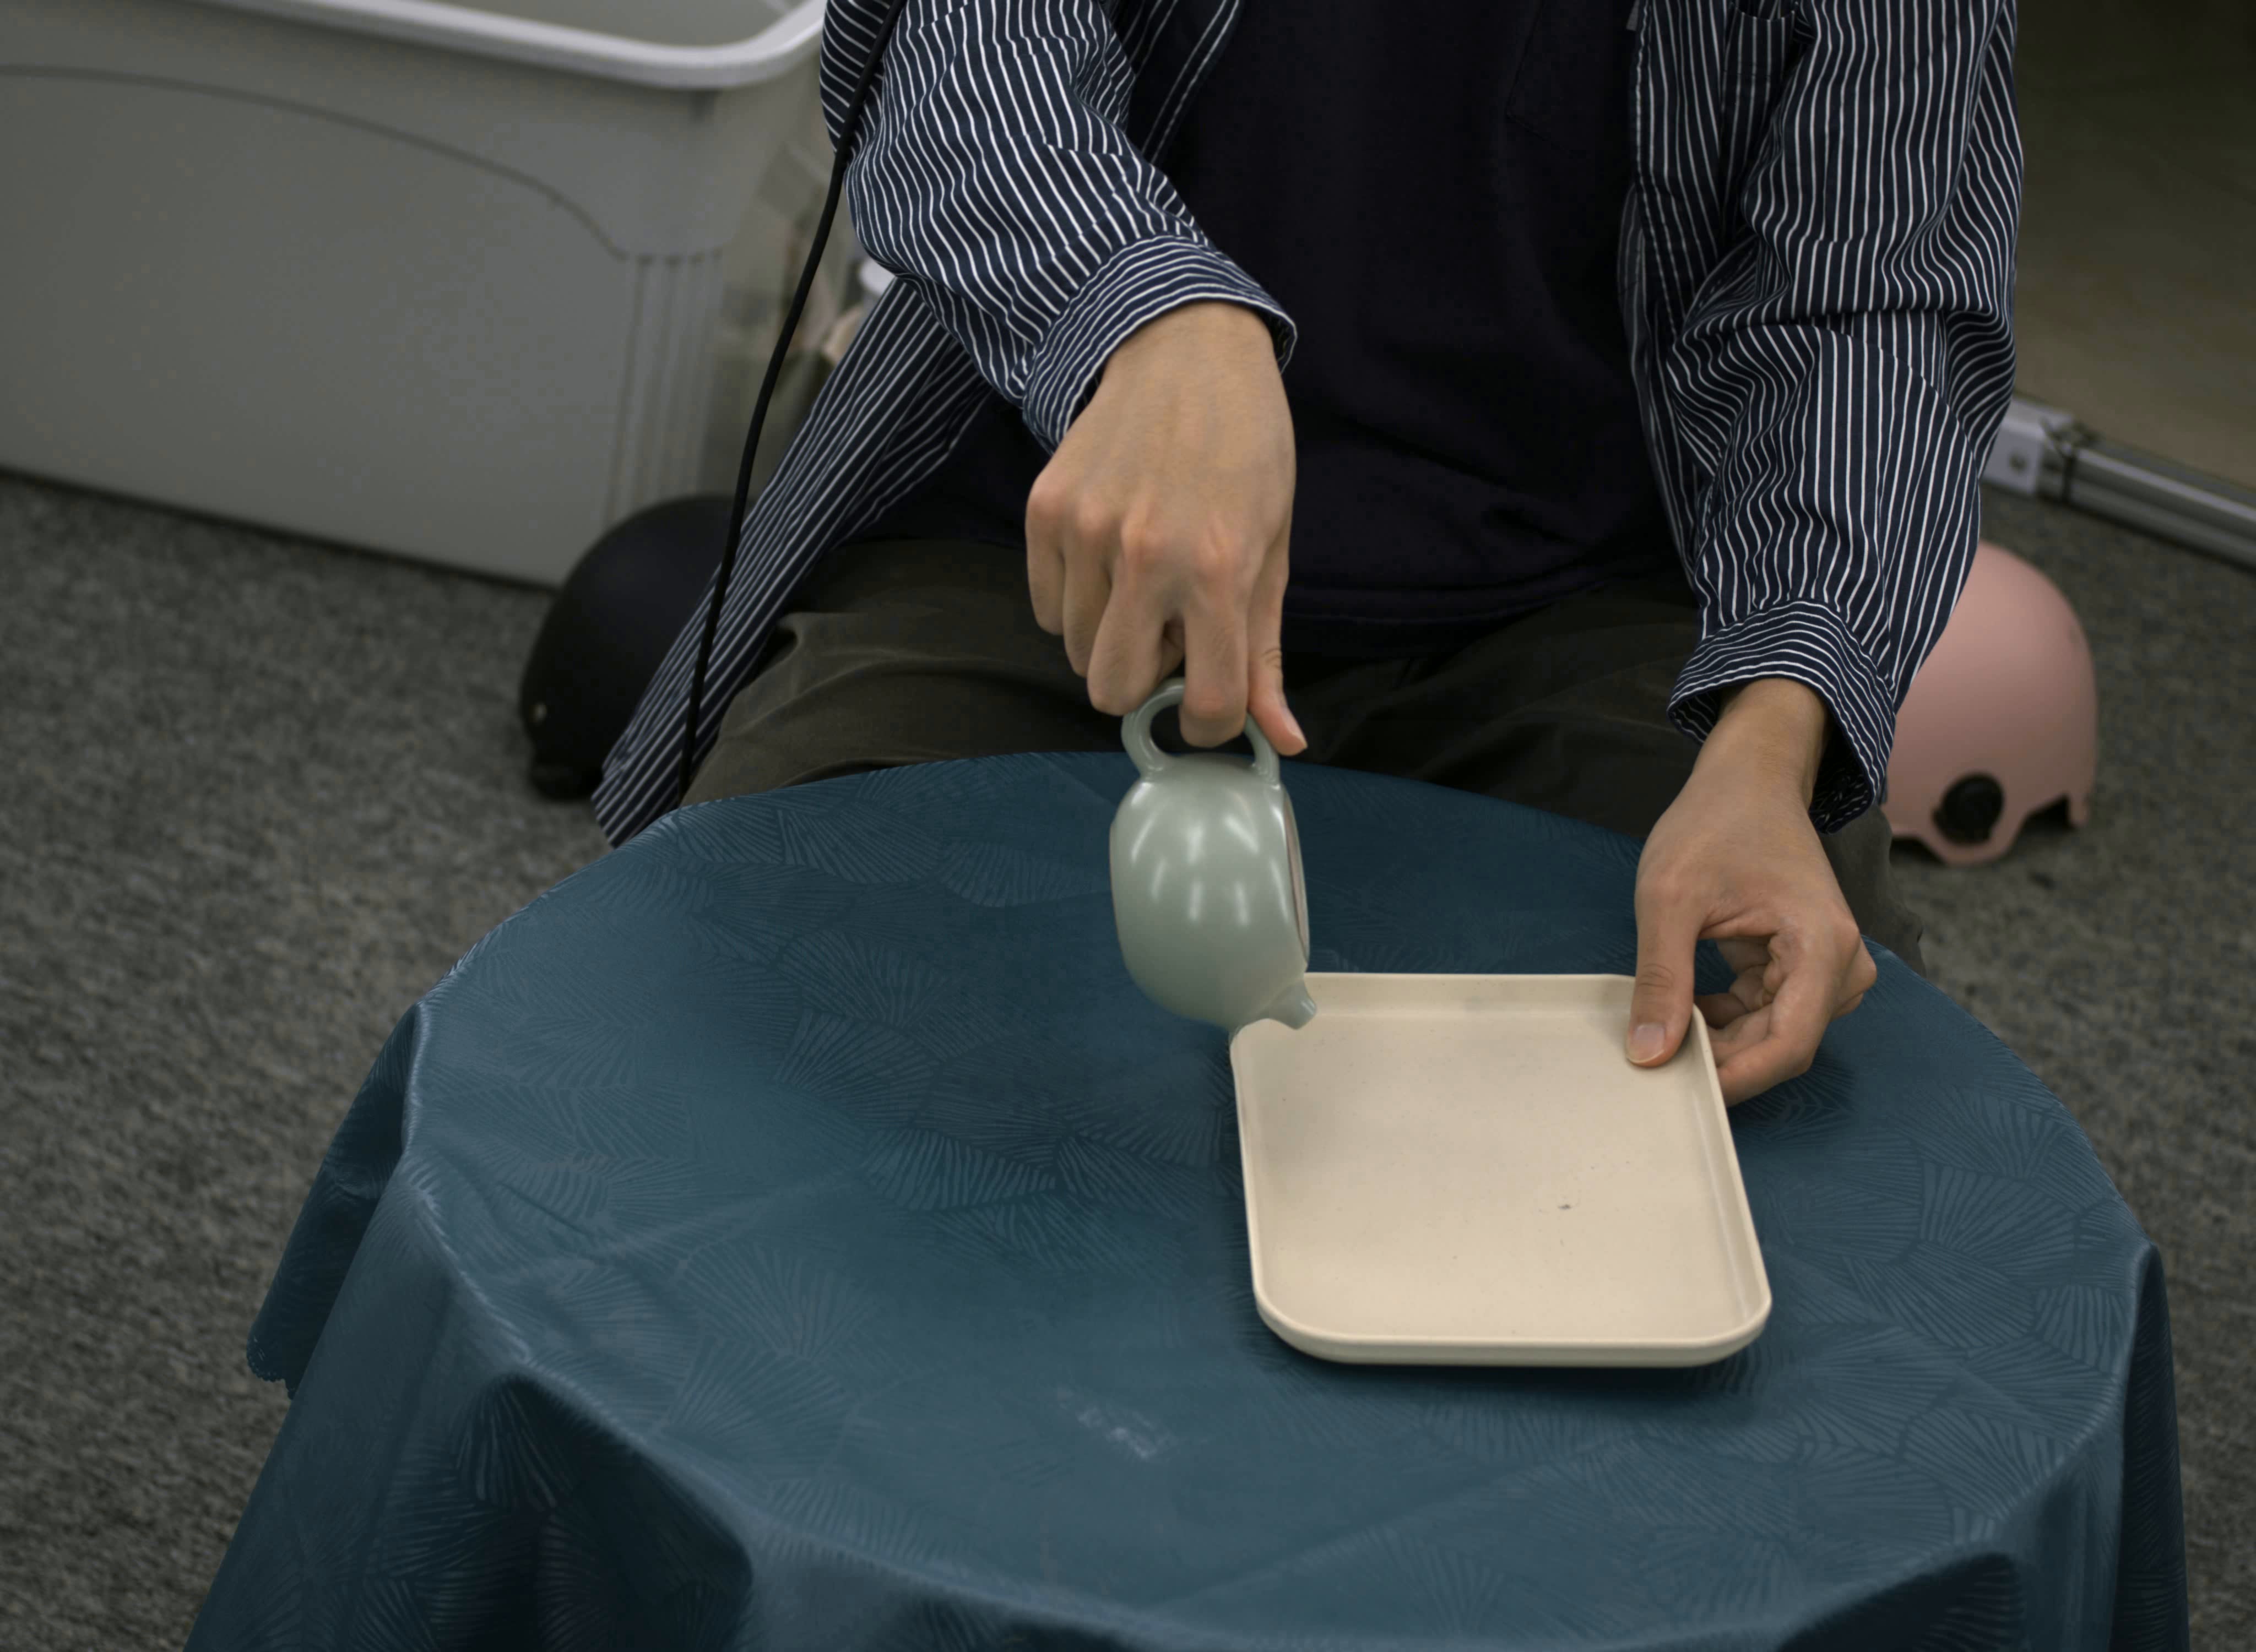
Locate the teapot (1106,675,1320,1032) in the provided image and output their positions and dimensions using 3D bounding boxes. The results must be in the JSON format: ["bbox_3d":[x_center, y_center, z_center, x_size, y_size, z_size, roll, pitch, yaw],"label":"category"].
[{"bbox_3d":[0.025,0.012,1.787,0.061,0.128,0.091,-9,12,9],"label":"teapot"}]

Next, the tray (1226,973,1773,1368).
[{"bbox_3d":[0.122,0.116,1.808,0.171,0.017,0.241,1,27,-2],"label":"tray"}]
